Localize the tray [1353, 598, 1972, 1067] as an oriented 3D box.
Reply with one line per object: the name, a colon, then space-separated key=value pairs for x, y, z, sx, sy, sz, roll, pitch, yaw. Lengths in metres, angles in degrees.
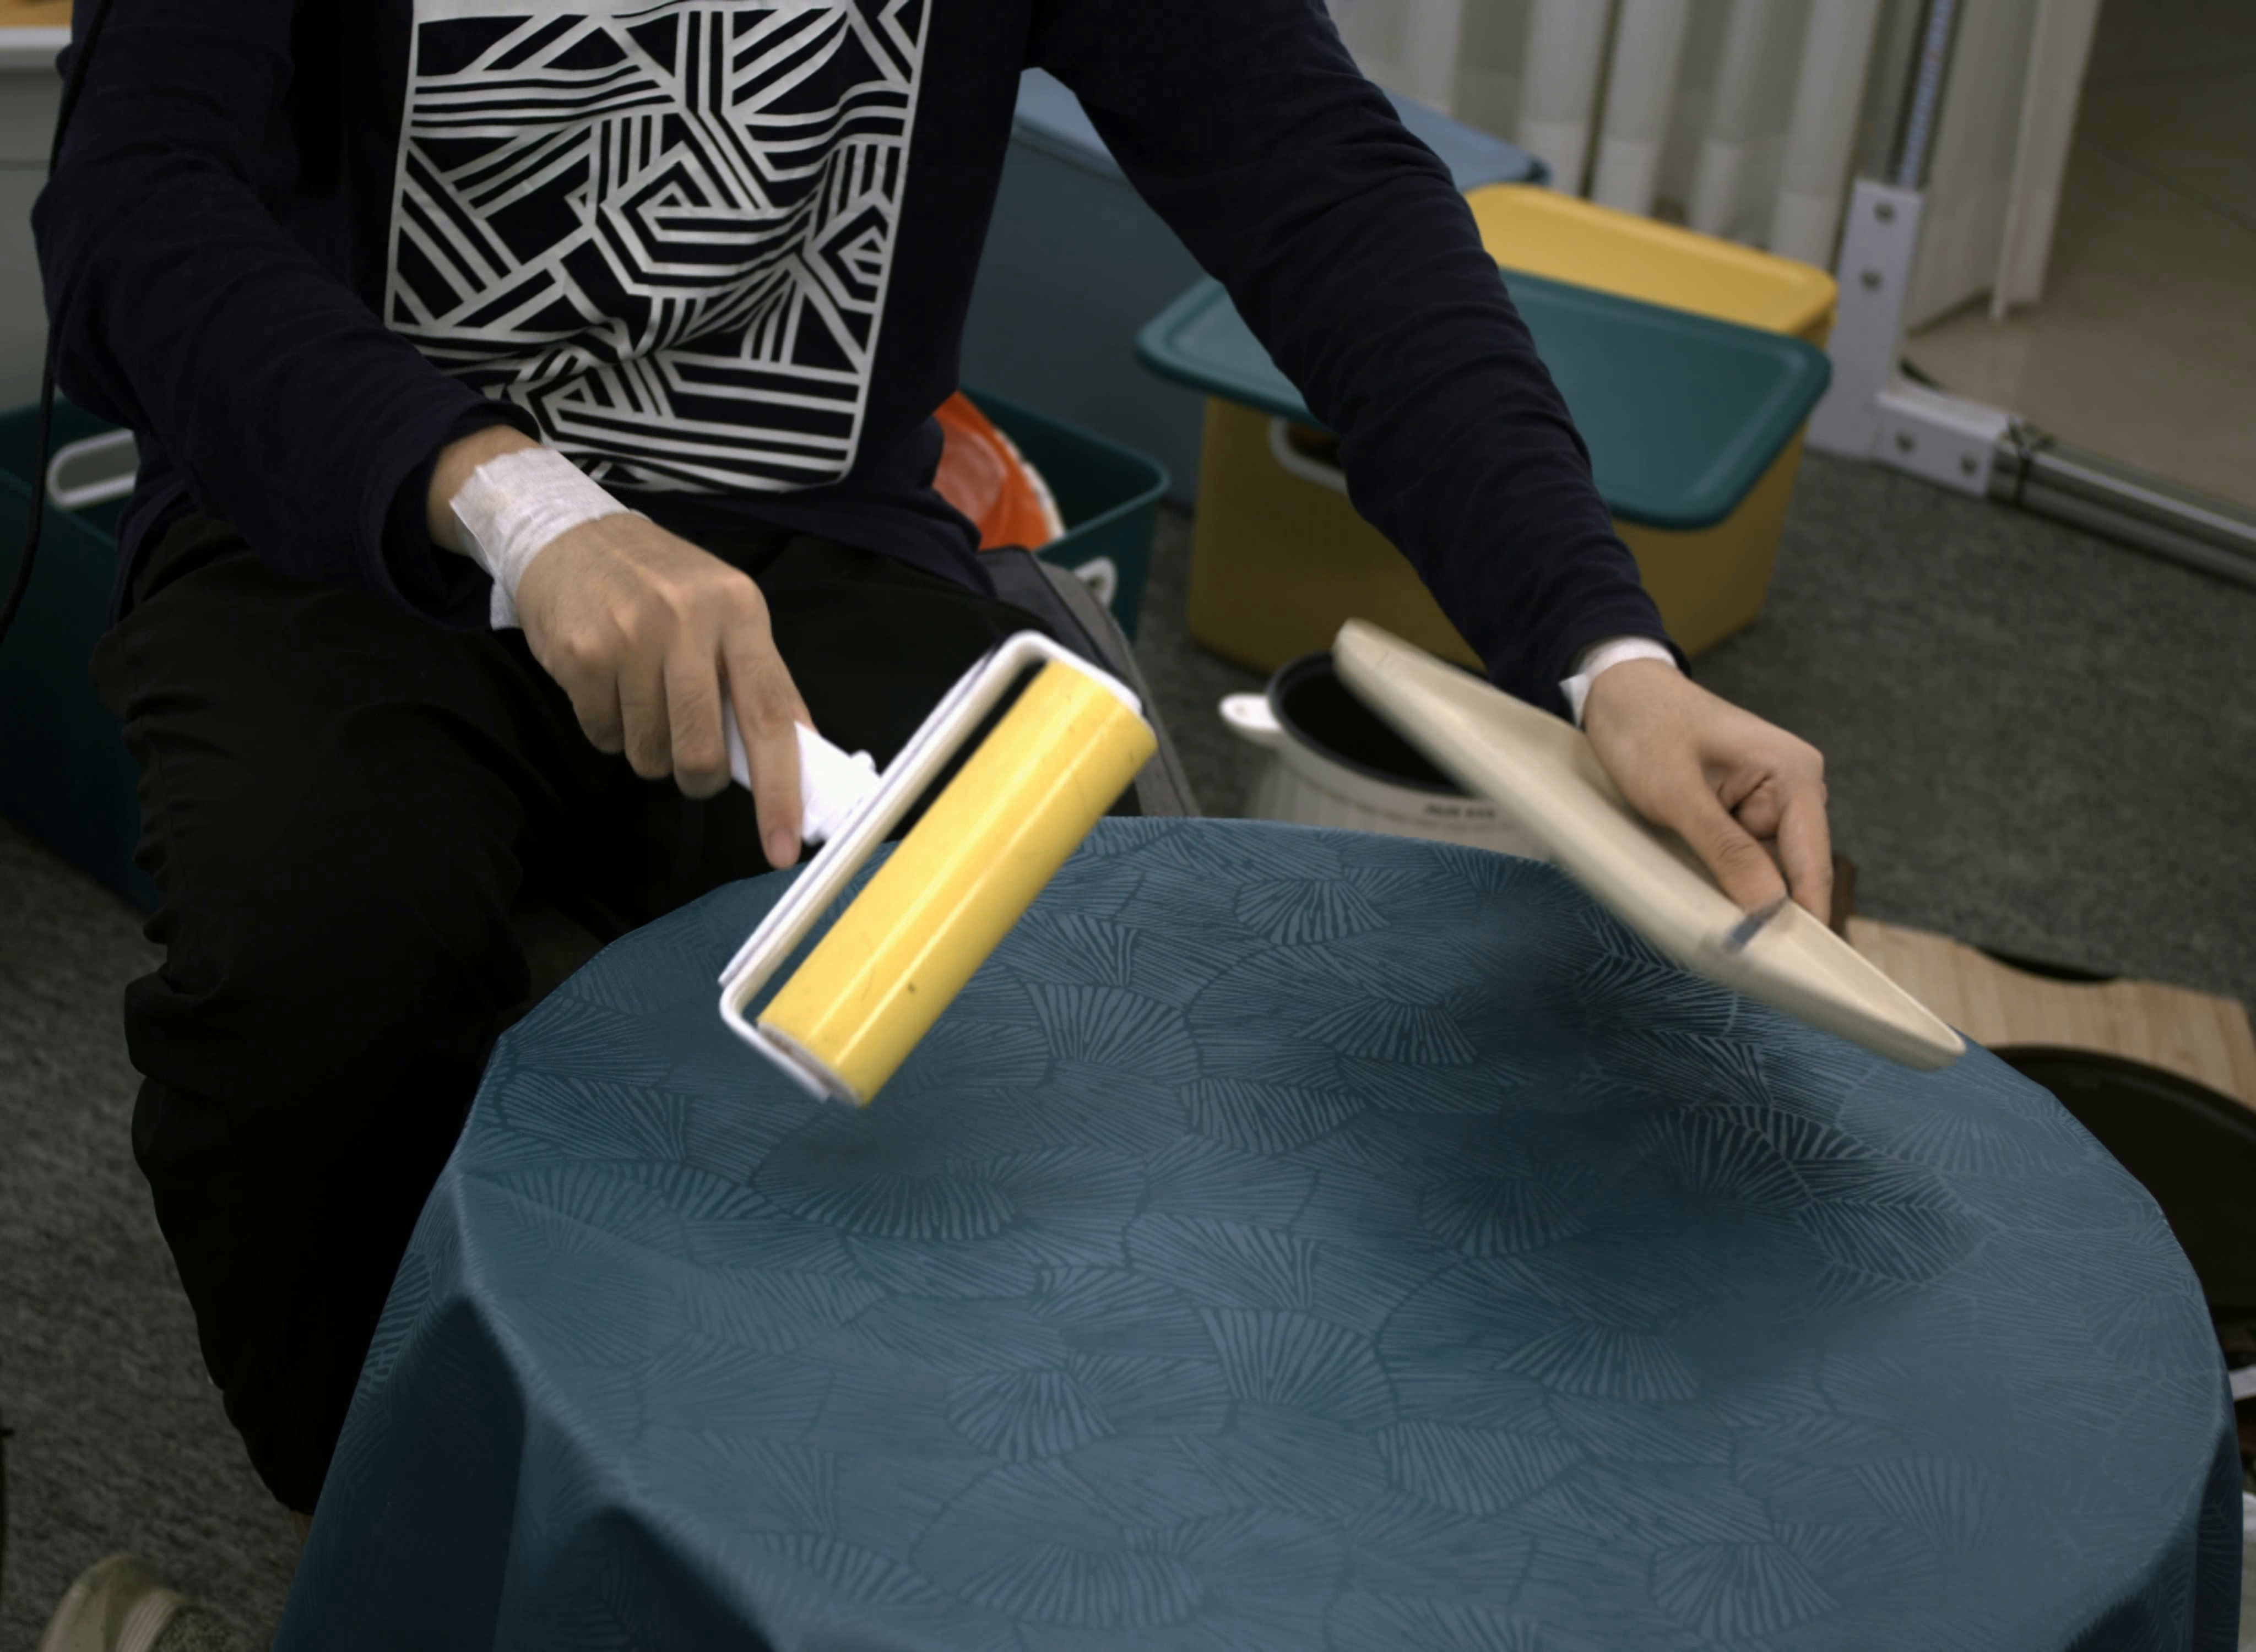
tray: x=0.183 y=0.004 z=1.868 sx=0.169 sy=0.017 sz=0.242 roll=28 pitch=11 yaw=-44

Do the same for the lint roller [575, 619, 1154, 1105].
lint roller: x=-0.114 y=-0.021 z=1.819 sx=0.193 sy=0.051 sz=0.174 roll=33 pitch=78 yaw=15
